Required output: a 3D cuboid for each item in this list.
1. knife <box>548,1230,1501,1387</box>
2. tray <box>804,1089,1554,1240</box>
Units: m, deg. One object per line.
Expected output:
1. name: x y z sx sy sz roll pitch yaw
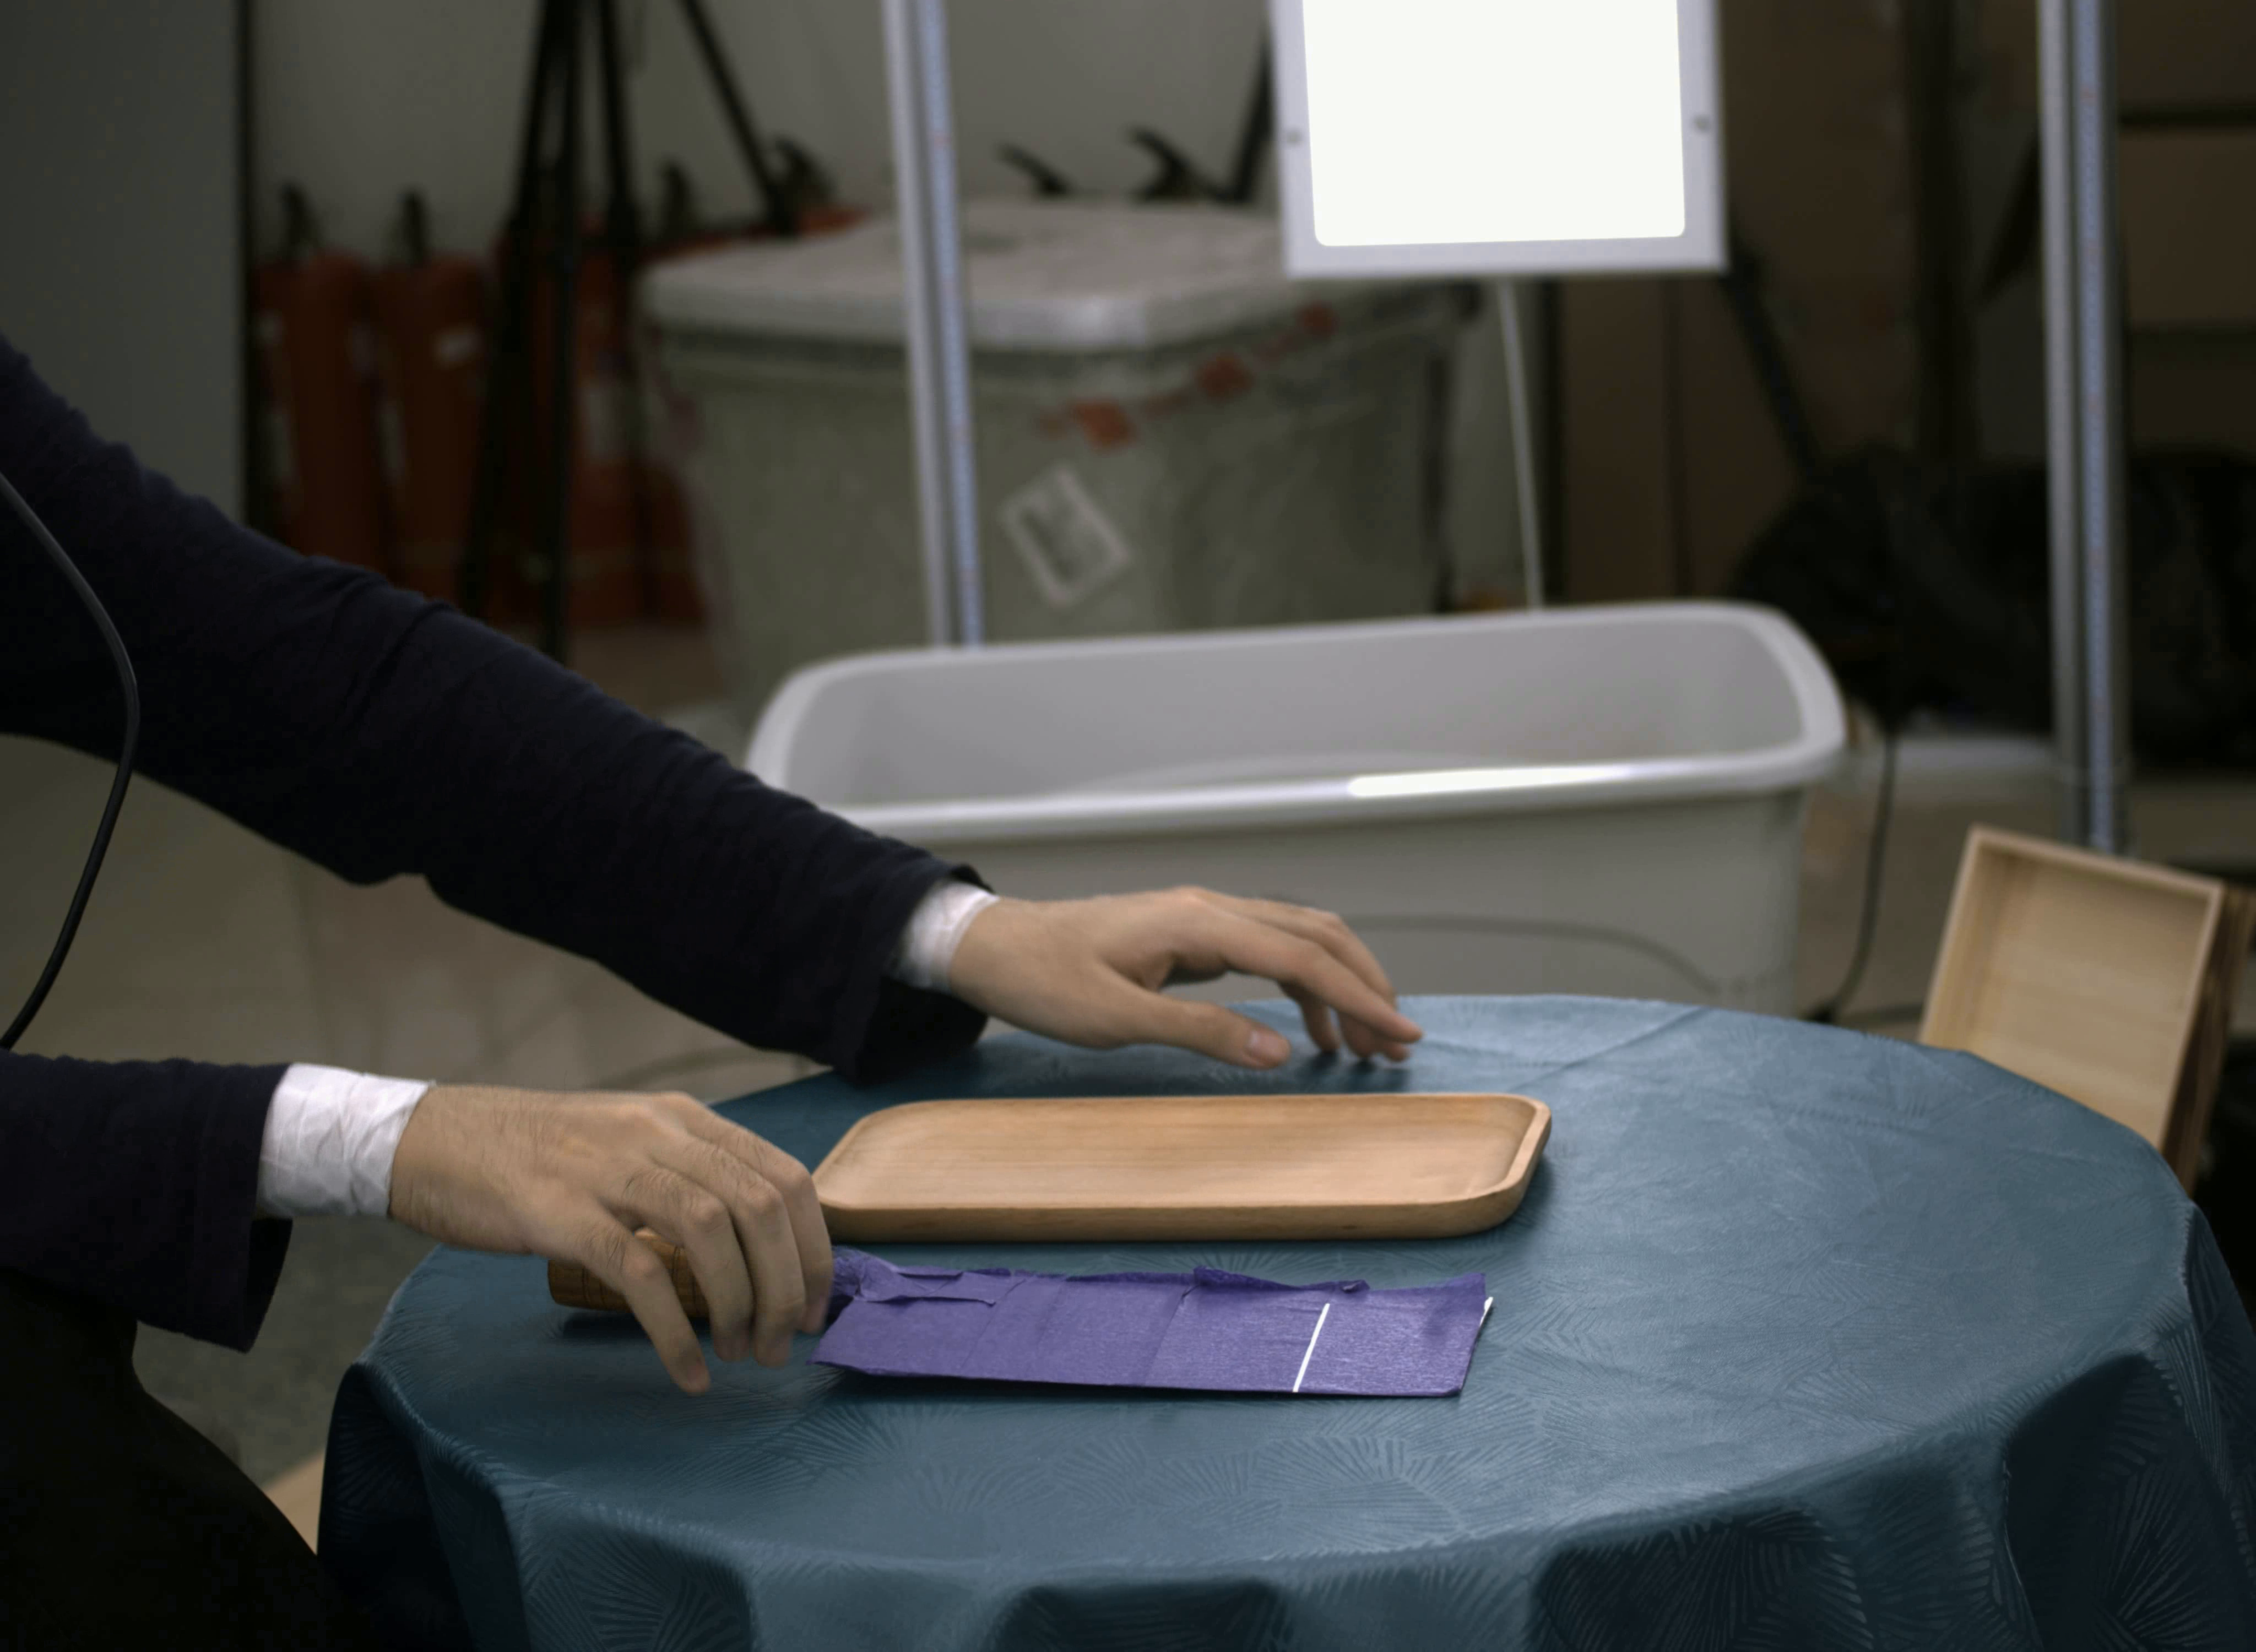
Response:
1. knife: -0.041 0.154 1.751 0.318 0.032 0.102 -1 15 14
2. tray: 0.019 0.117 1.902 0.253 0.023 0.128 -2 12 18
